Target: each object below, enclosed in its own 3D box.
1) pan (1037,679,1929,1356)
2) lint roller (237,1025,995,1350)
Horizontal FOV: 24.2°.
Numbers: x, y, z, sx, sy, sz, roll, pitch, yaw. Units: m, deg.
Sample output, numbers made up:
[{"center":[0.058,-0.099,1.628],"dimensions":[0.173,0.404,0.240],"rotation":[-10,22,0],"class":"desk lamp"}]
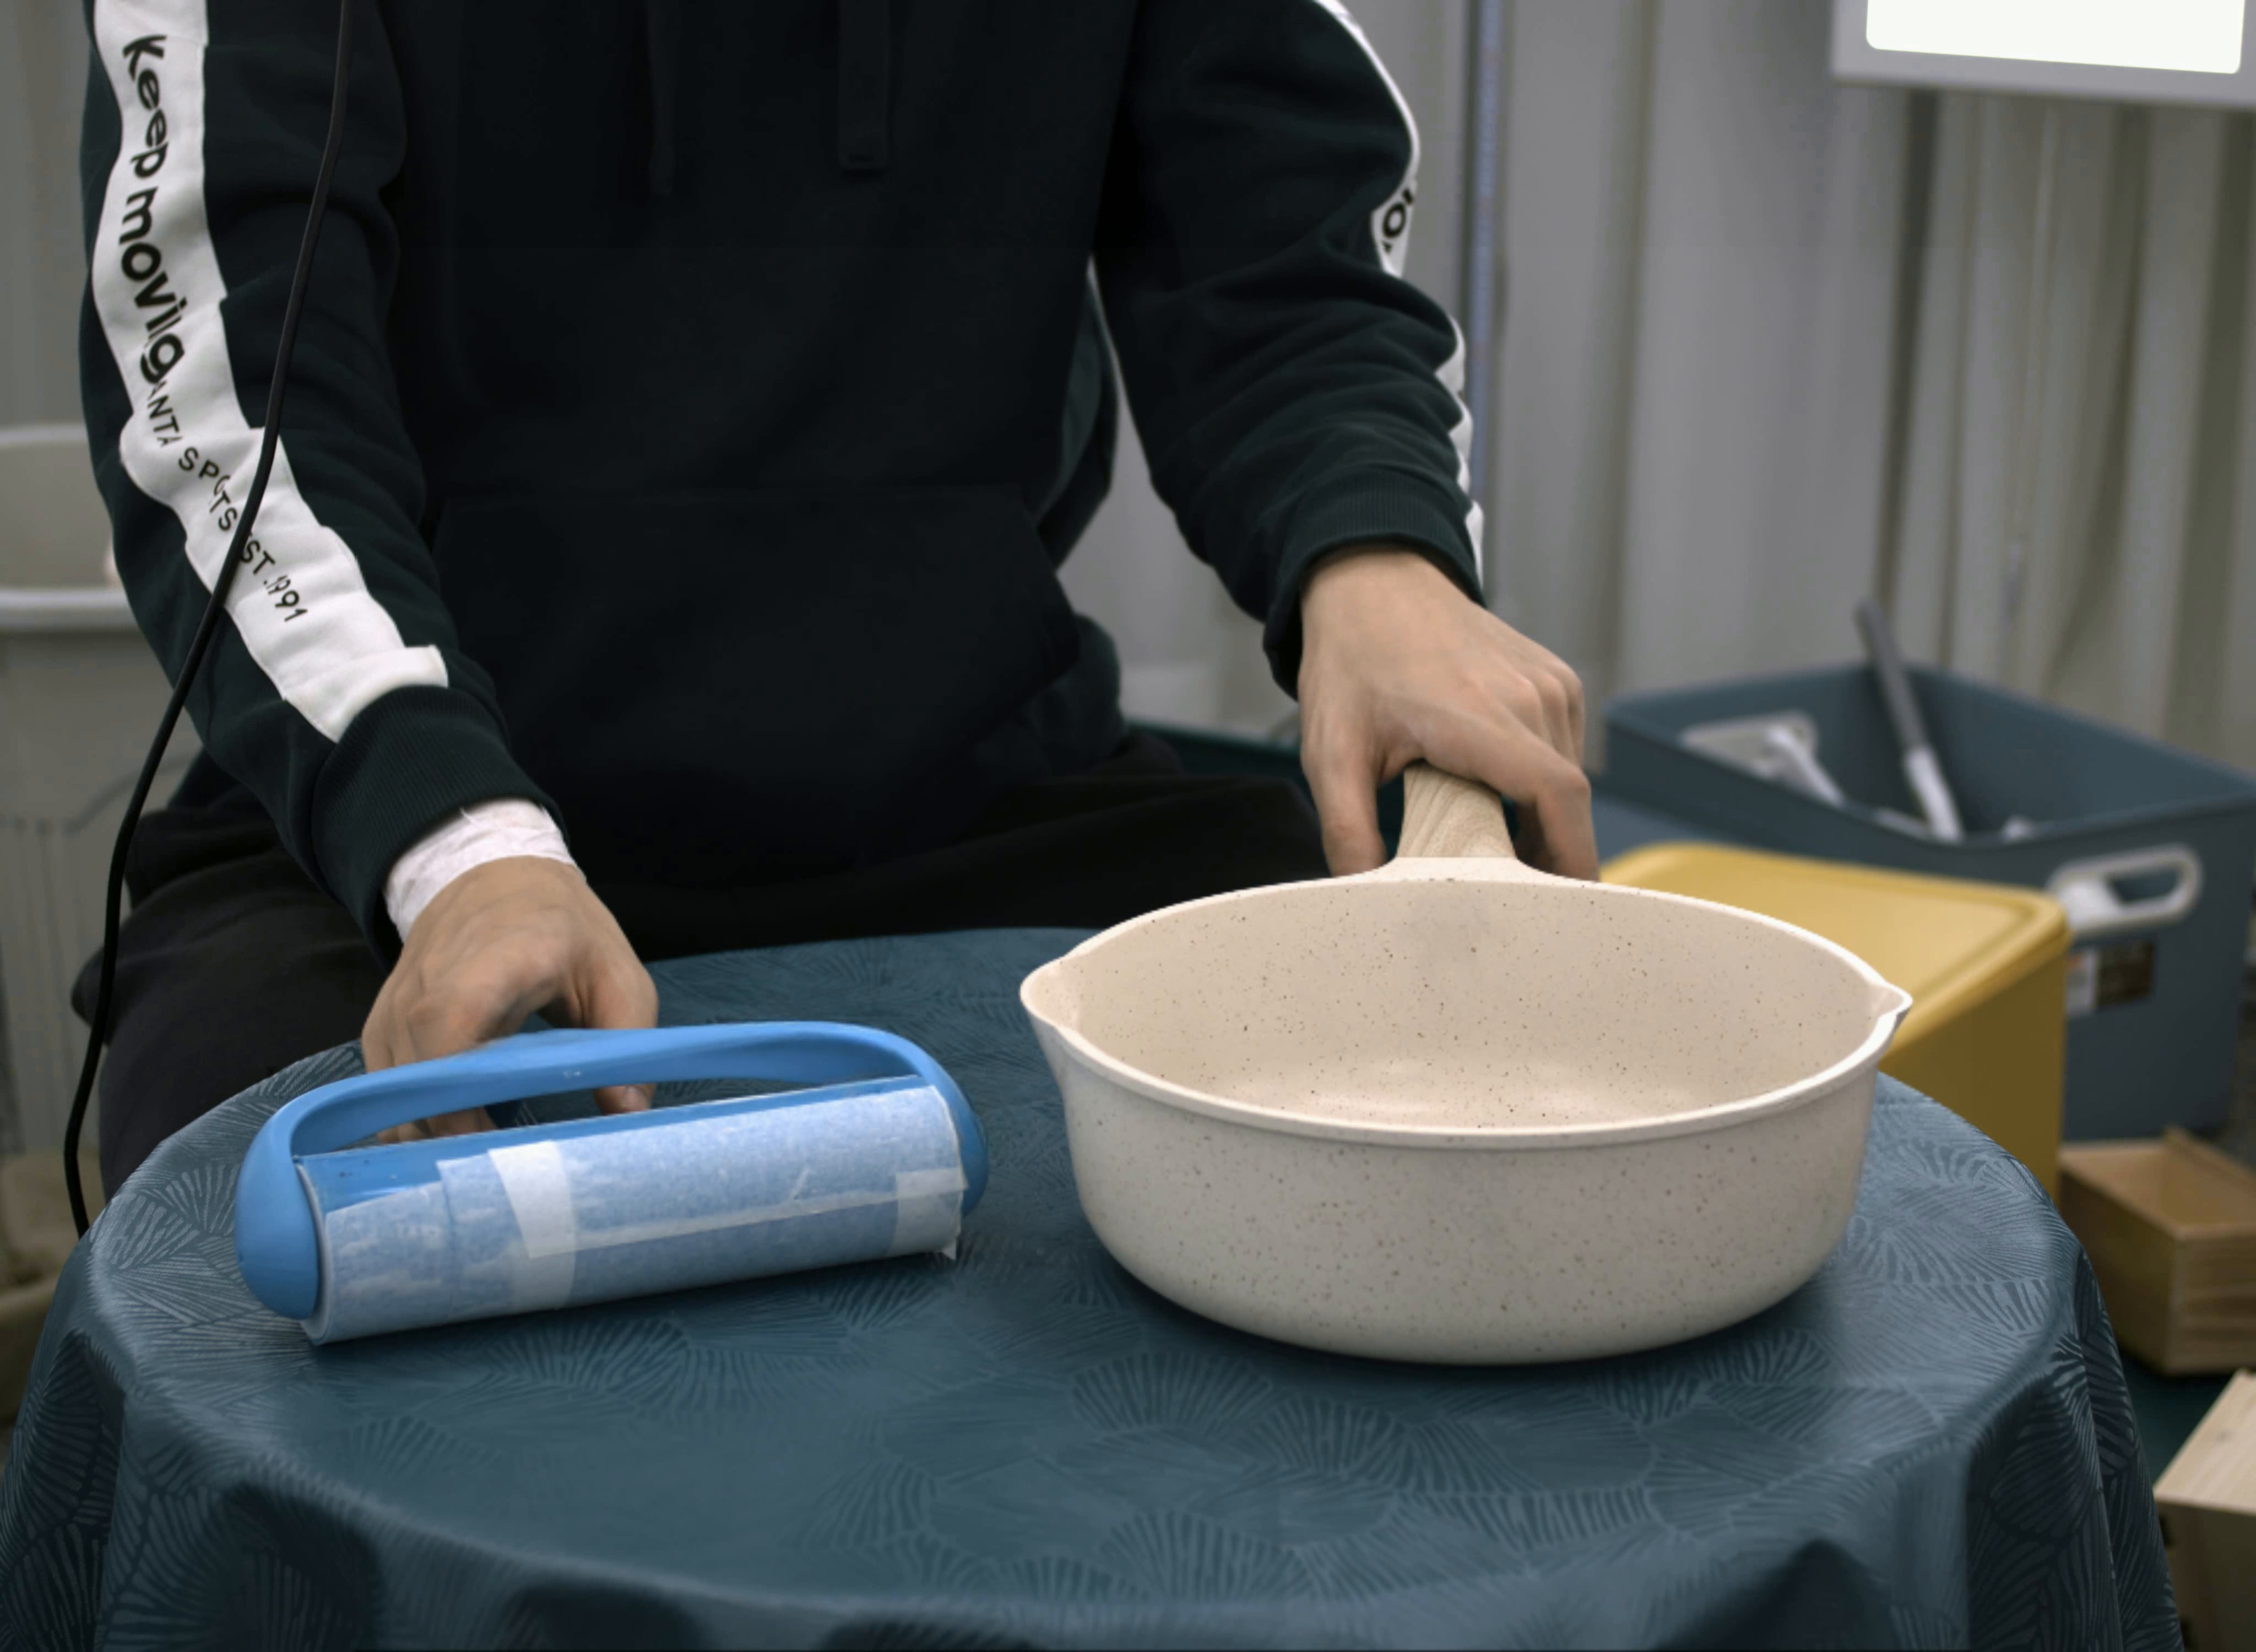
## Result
[{"center":[0.106,0.055,1.642],"dimensions":[0.262,0.103,0.432],"rotation":[-1,15,1],"class":"pan"},{"center":[-0.172,0.094,1.572],"dimensions":[0.230,0.068,0.178],"rotation":[-9,19,-27],"class":"lint roller"}]
